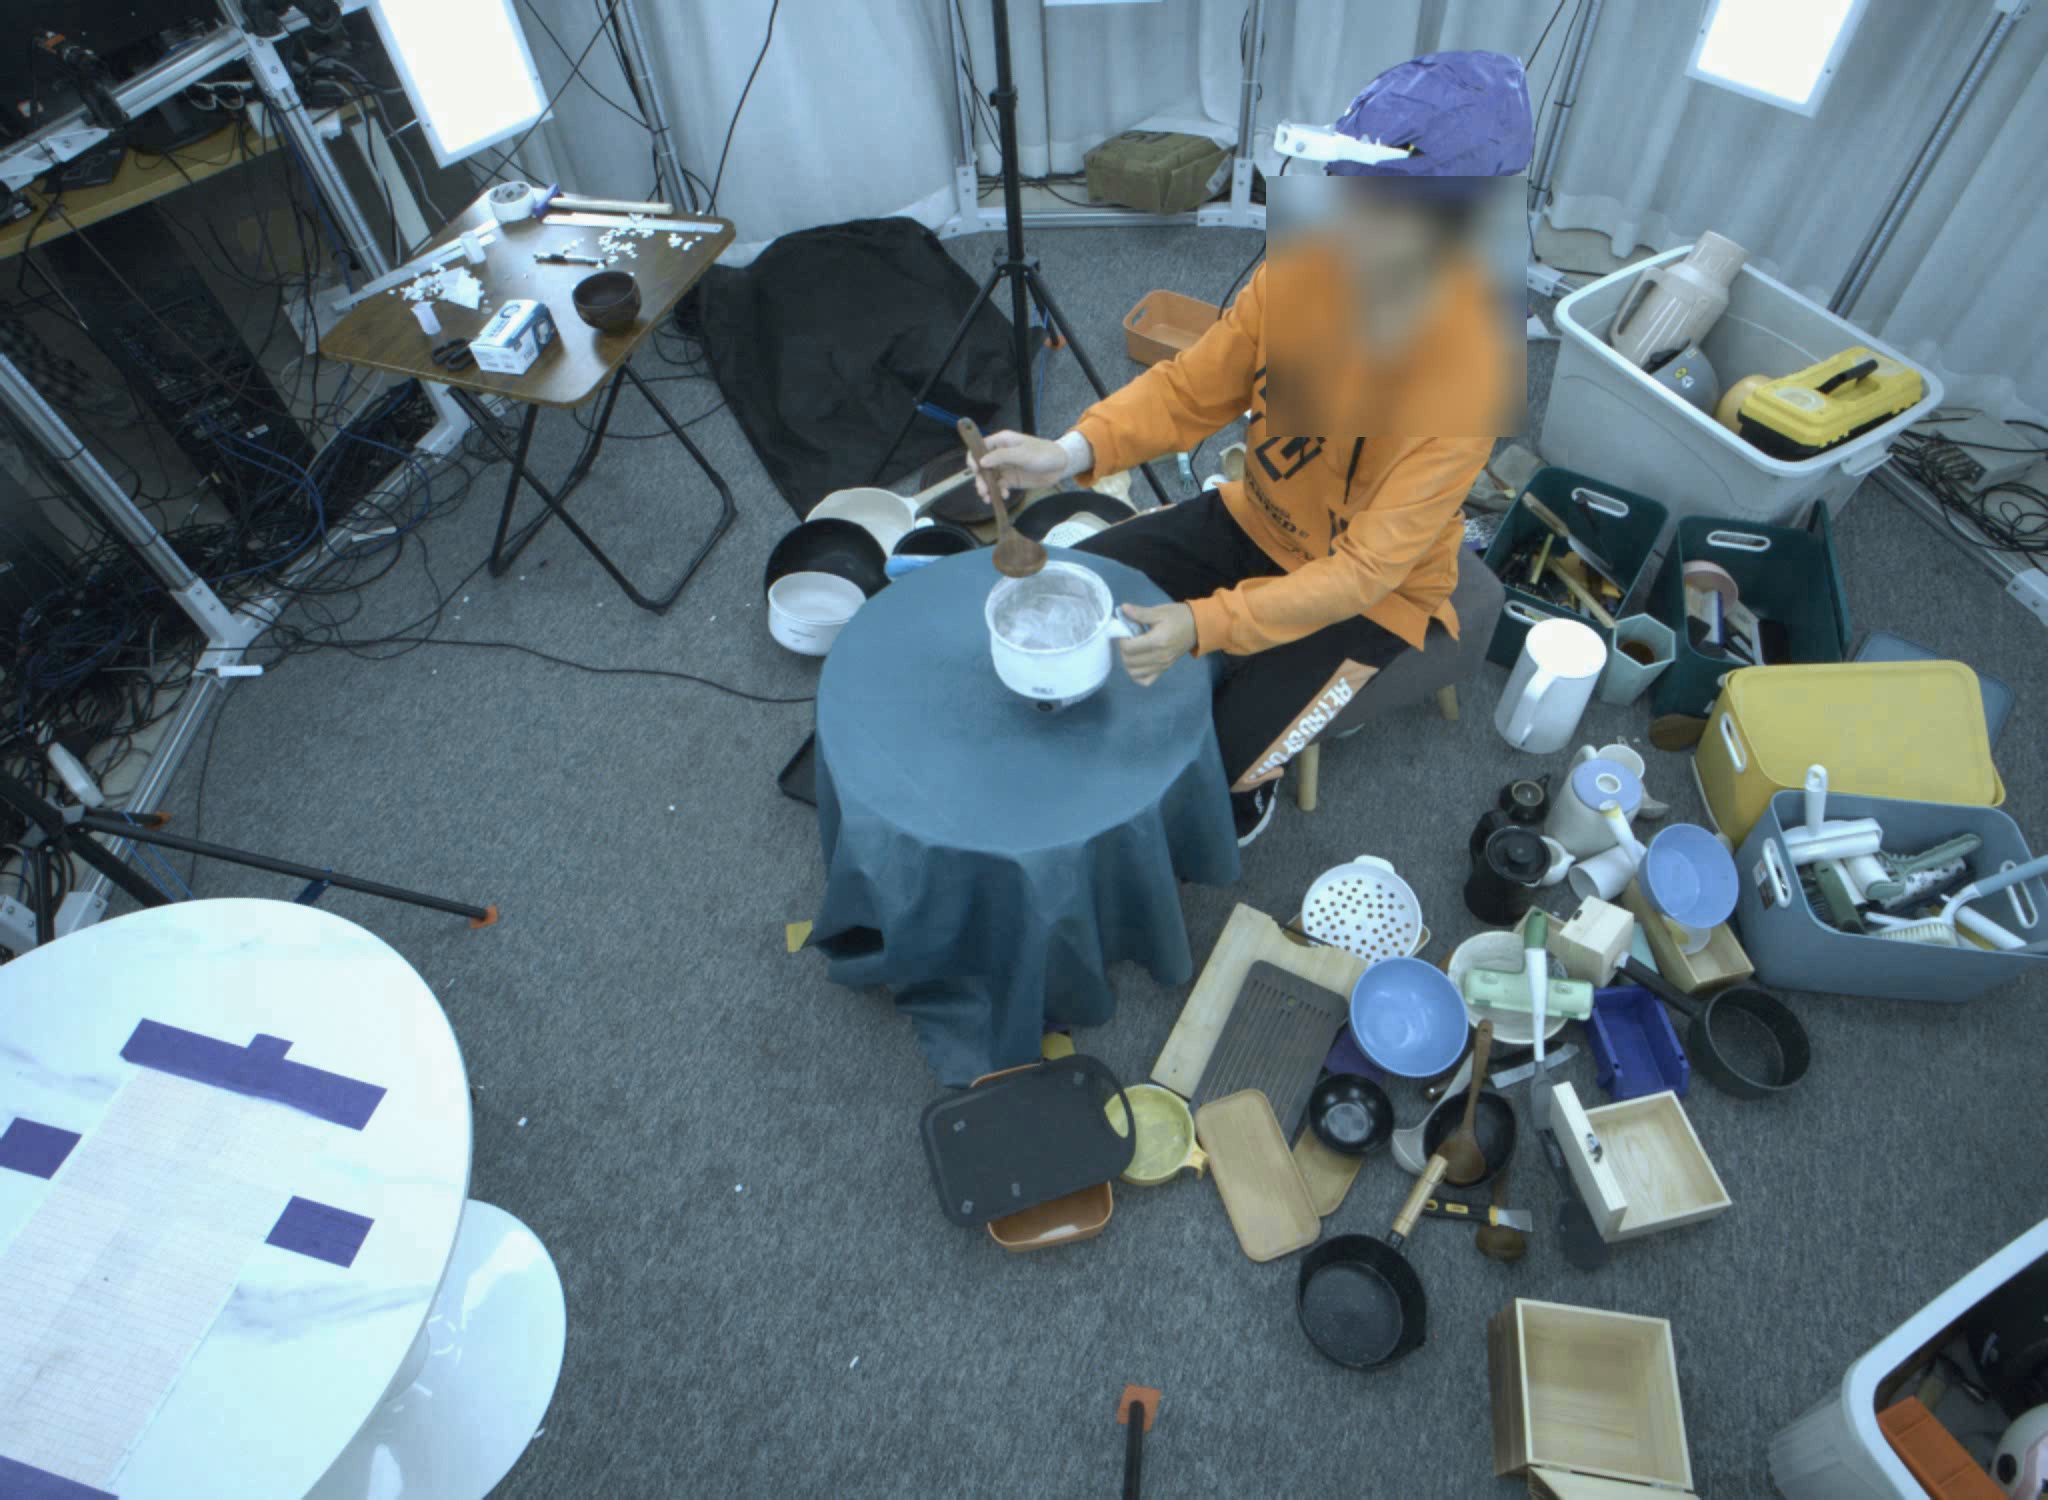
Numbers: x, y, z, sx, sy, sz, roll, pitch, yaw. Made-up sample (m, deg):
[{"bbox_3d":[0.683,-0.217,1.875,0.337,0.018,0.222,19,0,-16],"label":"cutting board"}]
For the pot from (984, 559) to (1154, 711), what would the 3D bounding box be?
[{"bbox_3d":[0.067,-0.161,1.744,0.232,0.138,0.177,4,55,9],"label":"pot"}]

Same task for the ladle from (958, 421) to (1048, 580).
[{"bbox_3d":[-0.038,-0.351,1.674,0.077,0.064,0.259,-17,85,-22],"label":"ladle"}]
